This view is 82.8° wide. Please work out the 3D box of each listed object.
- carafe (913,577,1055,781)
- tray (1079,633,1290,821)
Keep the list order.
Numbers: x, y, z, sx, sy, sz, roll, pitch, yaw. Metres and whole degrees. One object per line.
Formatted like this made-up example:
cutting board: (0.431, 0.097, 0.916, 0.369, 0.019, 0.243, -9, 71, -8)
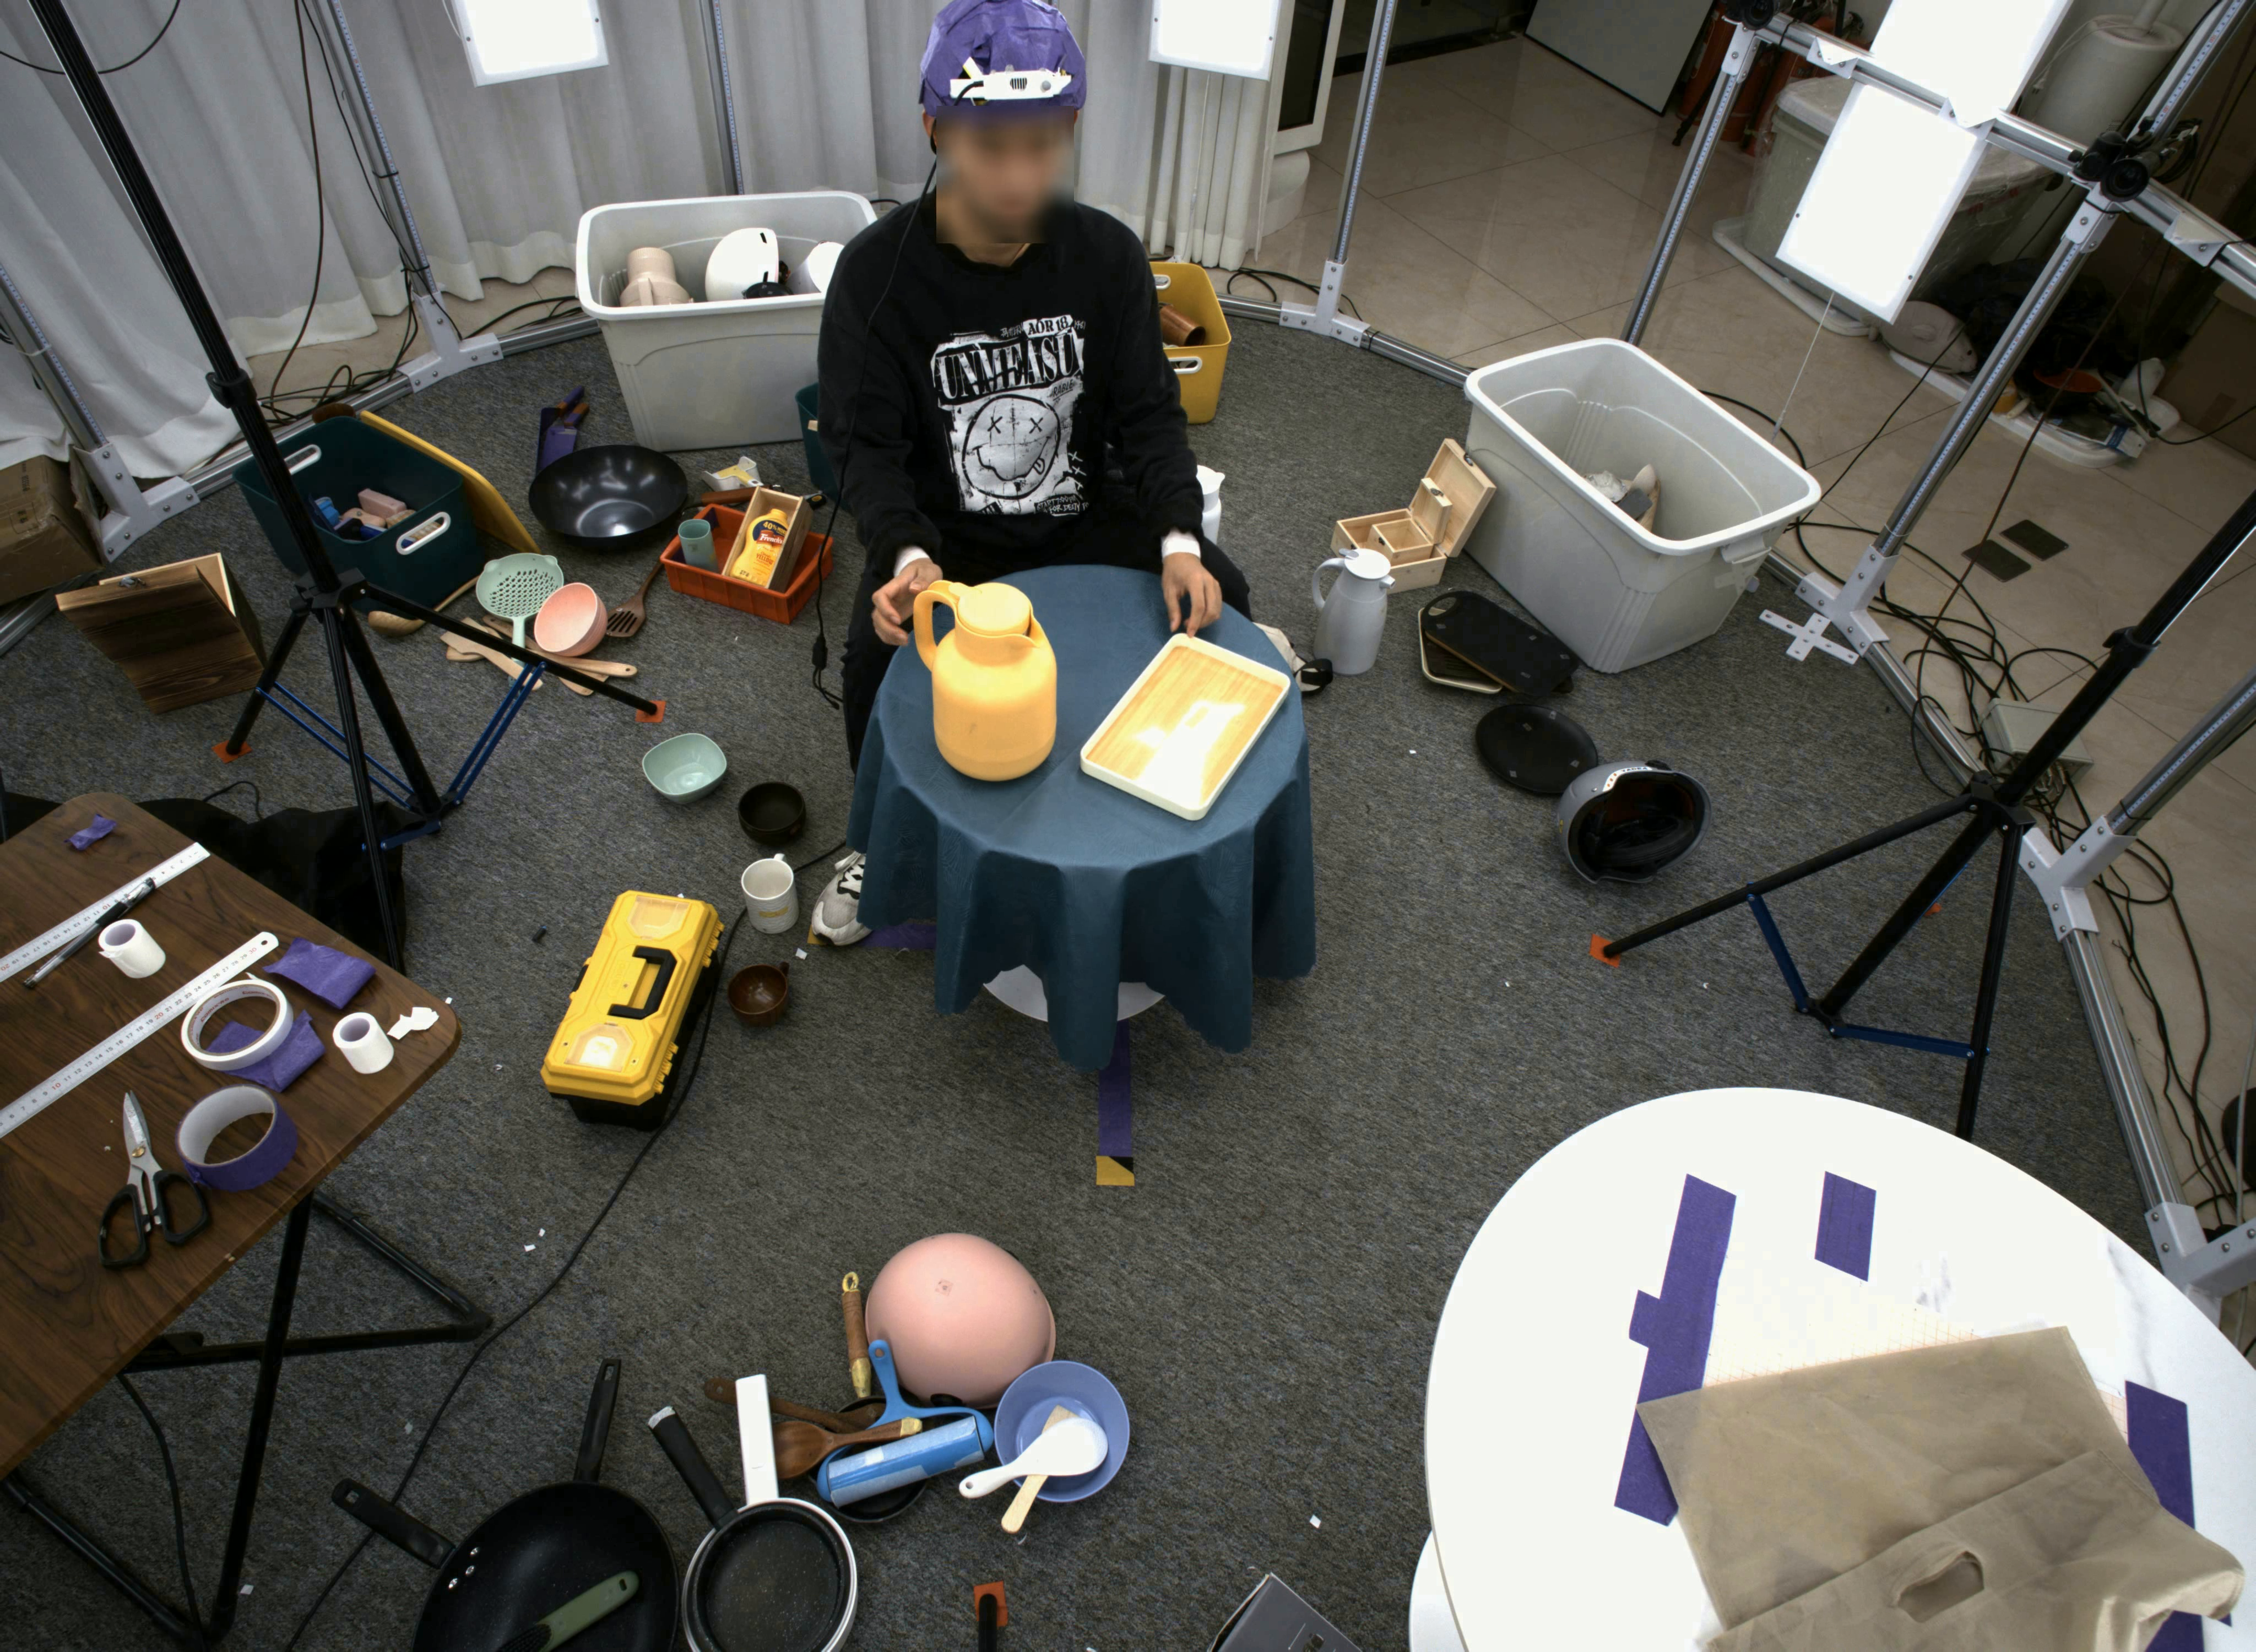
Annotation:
carafe: (-0.190, -0.201, 1.663, 0.204, 0.254, 0.165, 32, 52, 20)
tray: (0.082, -0.145, 1.783, 0.193, 0.027, 0.305, 25, 52, 17)
